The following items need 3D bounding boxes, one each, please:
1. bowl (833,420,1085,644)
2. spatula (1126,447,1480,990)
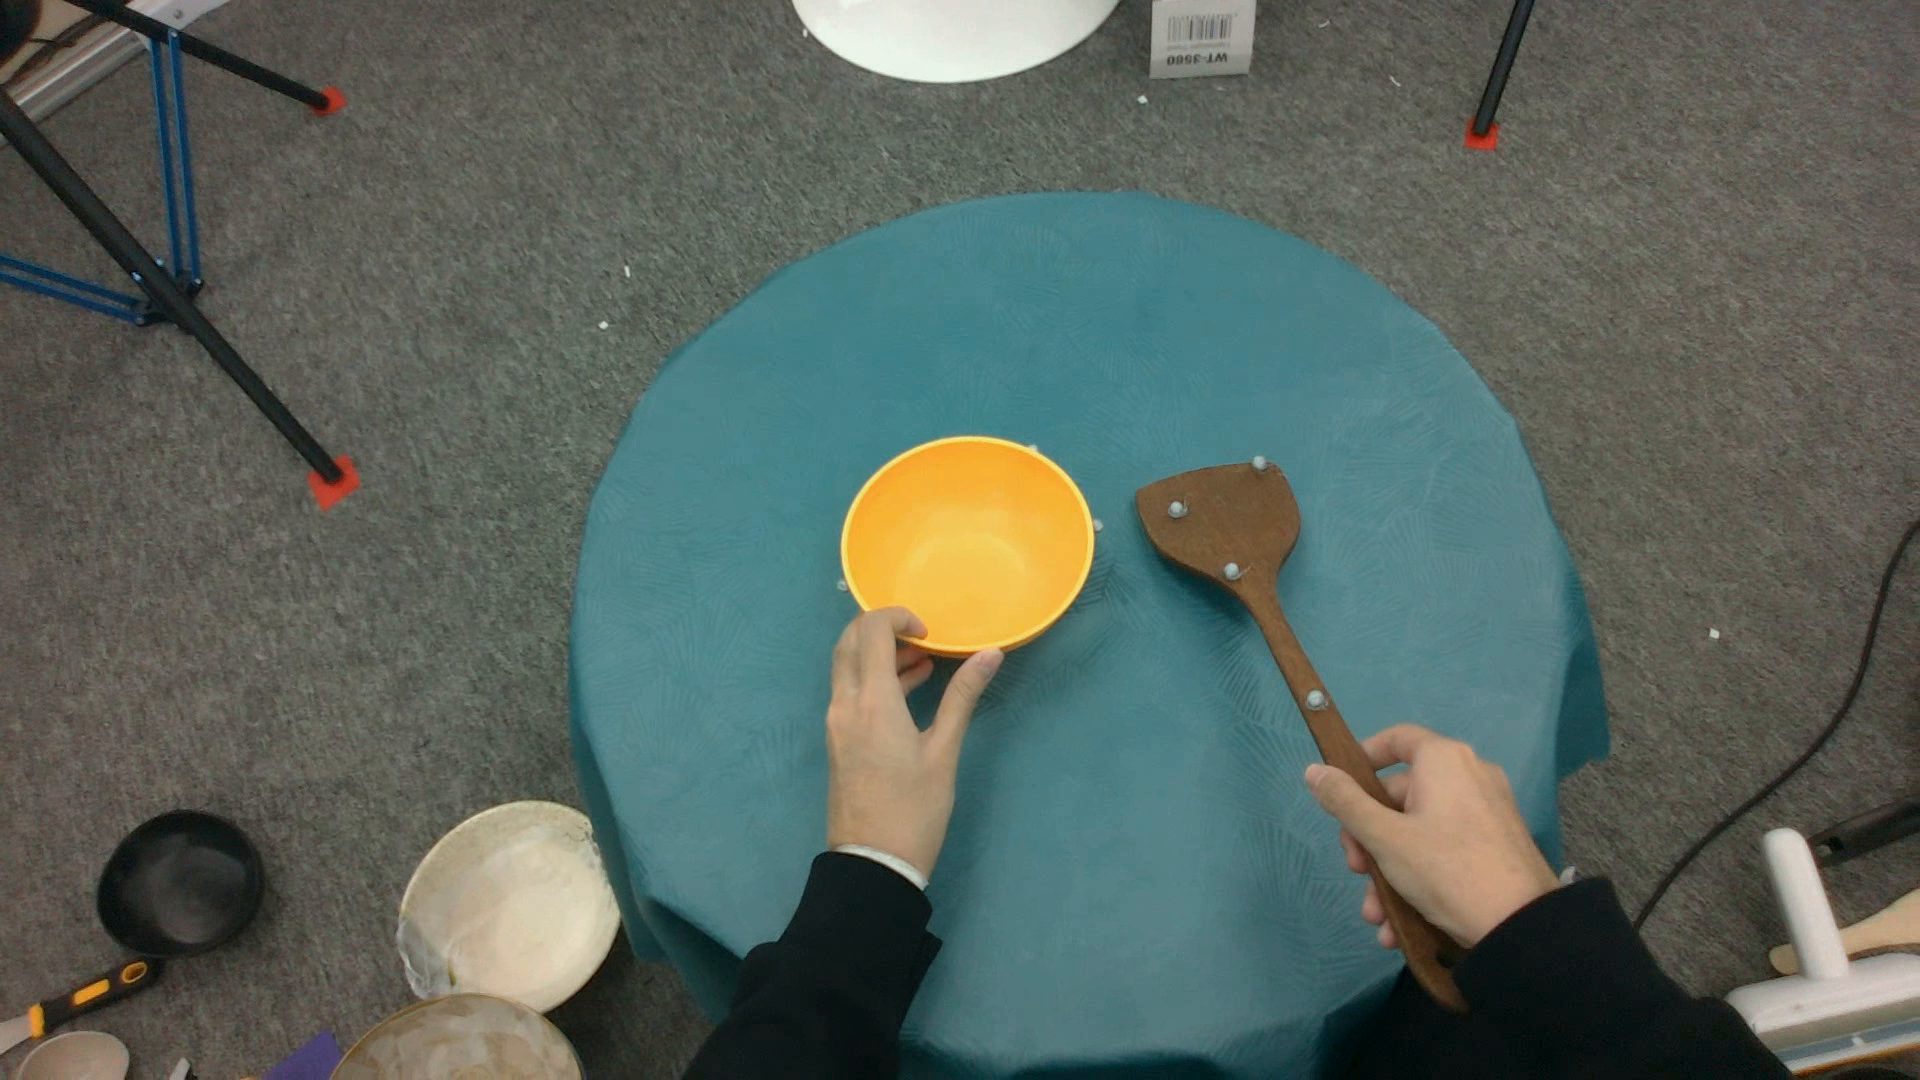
[{"bbox_3d":[0.002,0.004,0.807,0.145,0.060,0.146,-2,60,5],"label":"bowl"},{"bbox_3d":[0.175,0.064,0.713,0.096,0.016,0.387,-11,38,-3],"label":"spatula"}]
